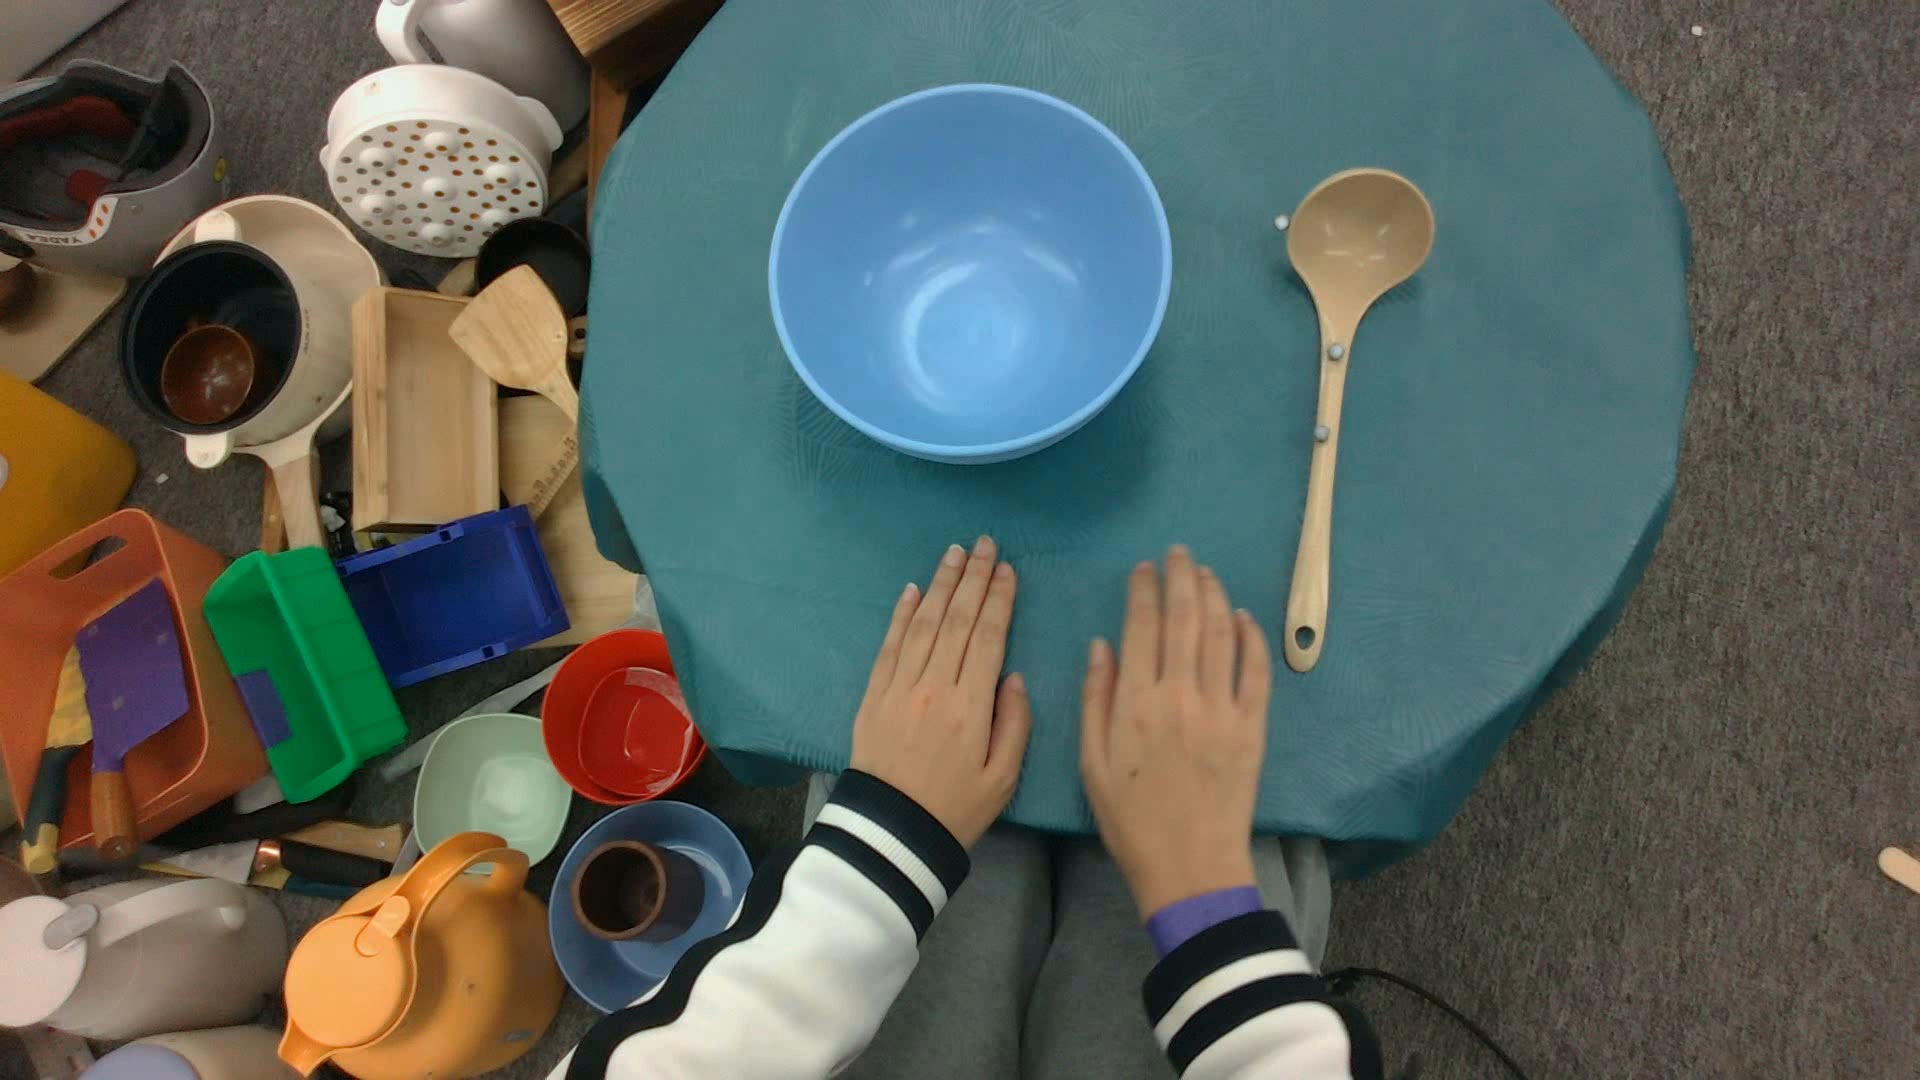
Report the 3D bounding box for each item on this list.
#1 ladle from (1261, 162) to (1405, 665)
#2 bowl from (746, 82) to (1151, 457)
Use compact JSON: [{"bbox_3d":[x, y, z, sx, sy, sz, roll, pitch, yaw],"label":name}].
[{"bbox_3d":[0.182,-0.068,0.693,0.072,0.072,0.255,6,74,5],"label":"ladle"},{"bbox_3d":[-0.004,-0.125,0.710,0.196,0.095,0.197,-1,73,2],"label":"bowl"}]
